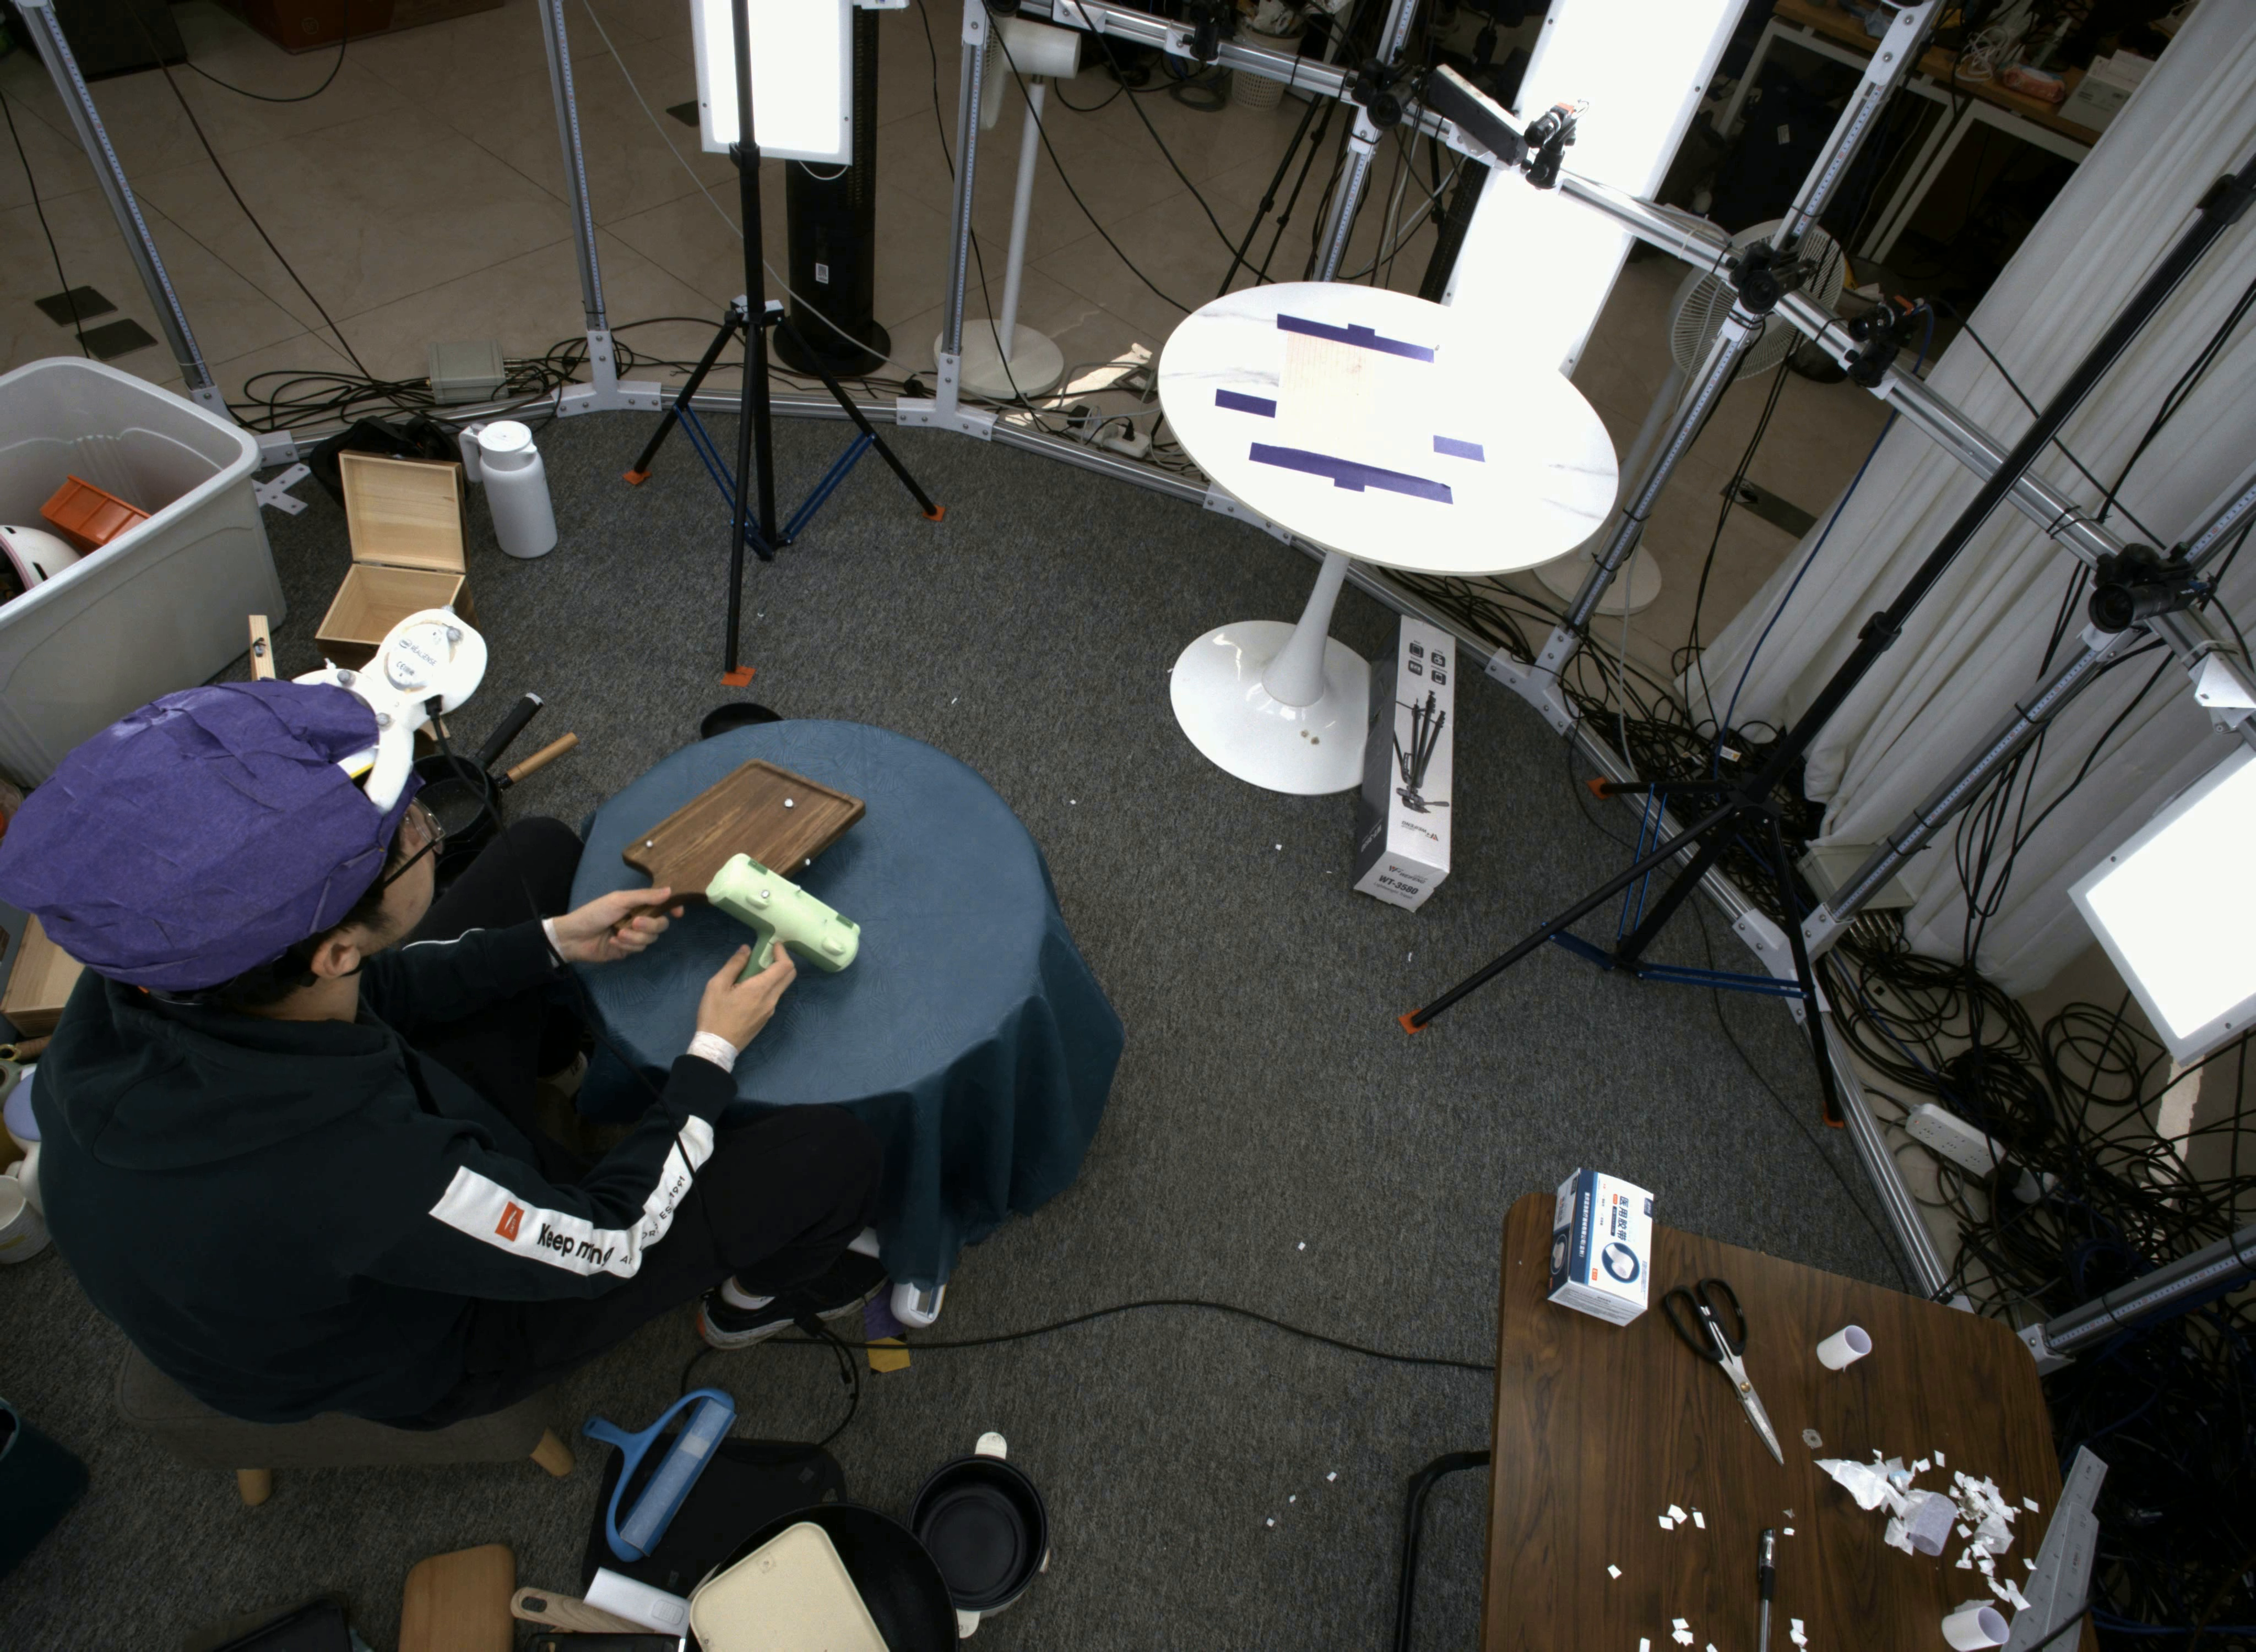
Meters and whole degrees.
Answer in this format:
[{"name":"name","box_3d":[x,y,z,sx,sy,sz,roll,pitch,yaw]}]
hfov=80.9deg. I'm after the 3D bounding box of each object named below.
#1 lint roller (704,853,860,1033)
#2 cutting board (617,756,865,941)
[{"name":"lint roller","box_3d":[-0.421,0.156,1.515,0.205,0.079,0.182,39,61,-38]},{"name":"cutting board","box_3d":[-0.510,0.030,1.615,0.195,0.024,0.351,22,41,18]}]
